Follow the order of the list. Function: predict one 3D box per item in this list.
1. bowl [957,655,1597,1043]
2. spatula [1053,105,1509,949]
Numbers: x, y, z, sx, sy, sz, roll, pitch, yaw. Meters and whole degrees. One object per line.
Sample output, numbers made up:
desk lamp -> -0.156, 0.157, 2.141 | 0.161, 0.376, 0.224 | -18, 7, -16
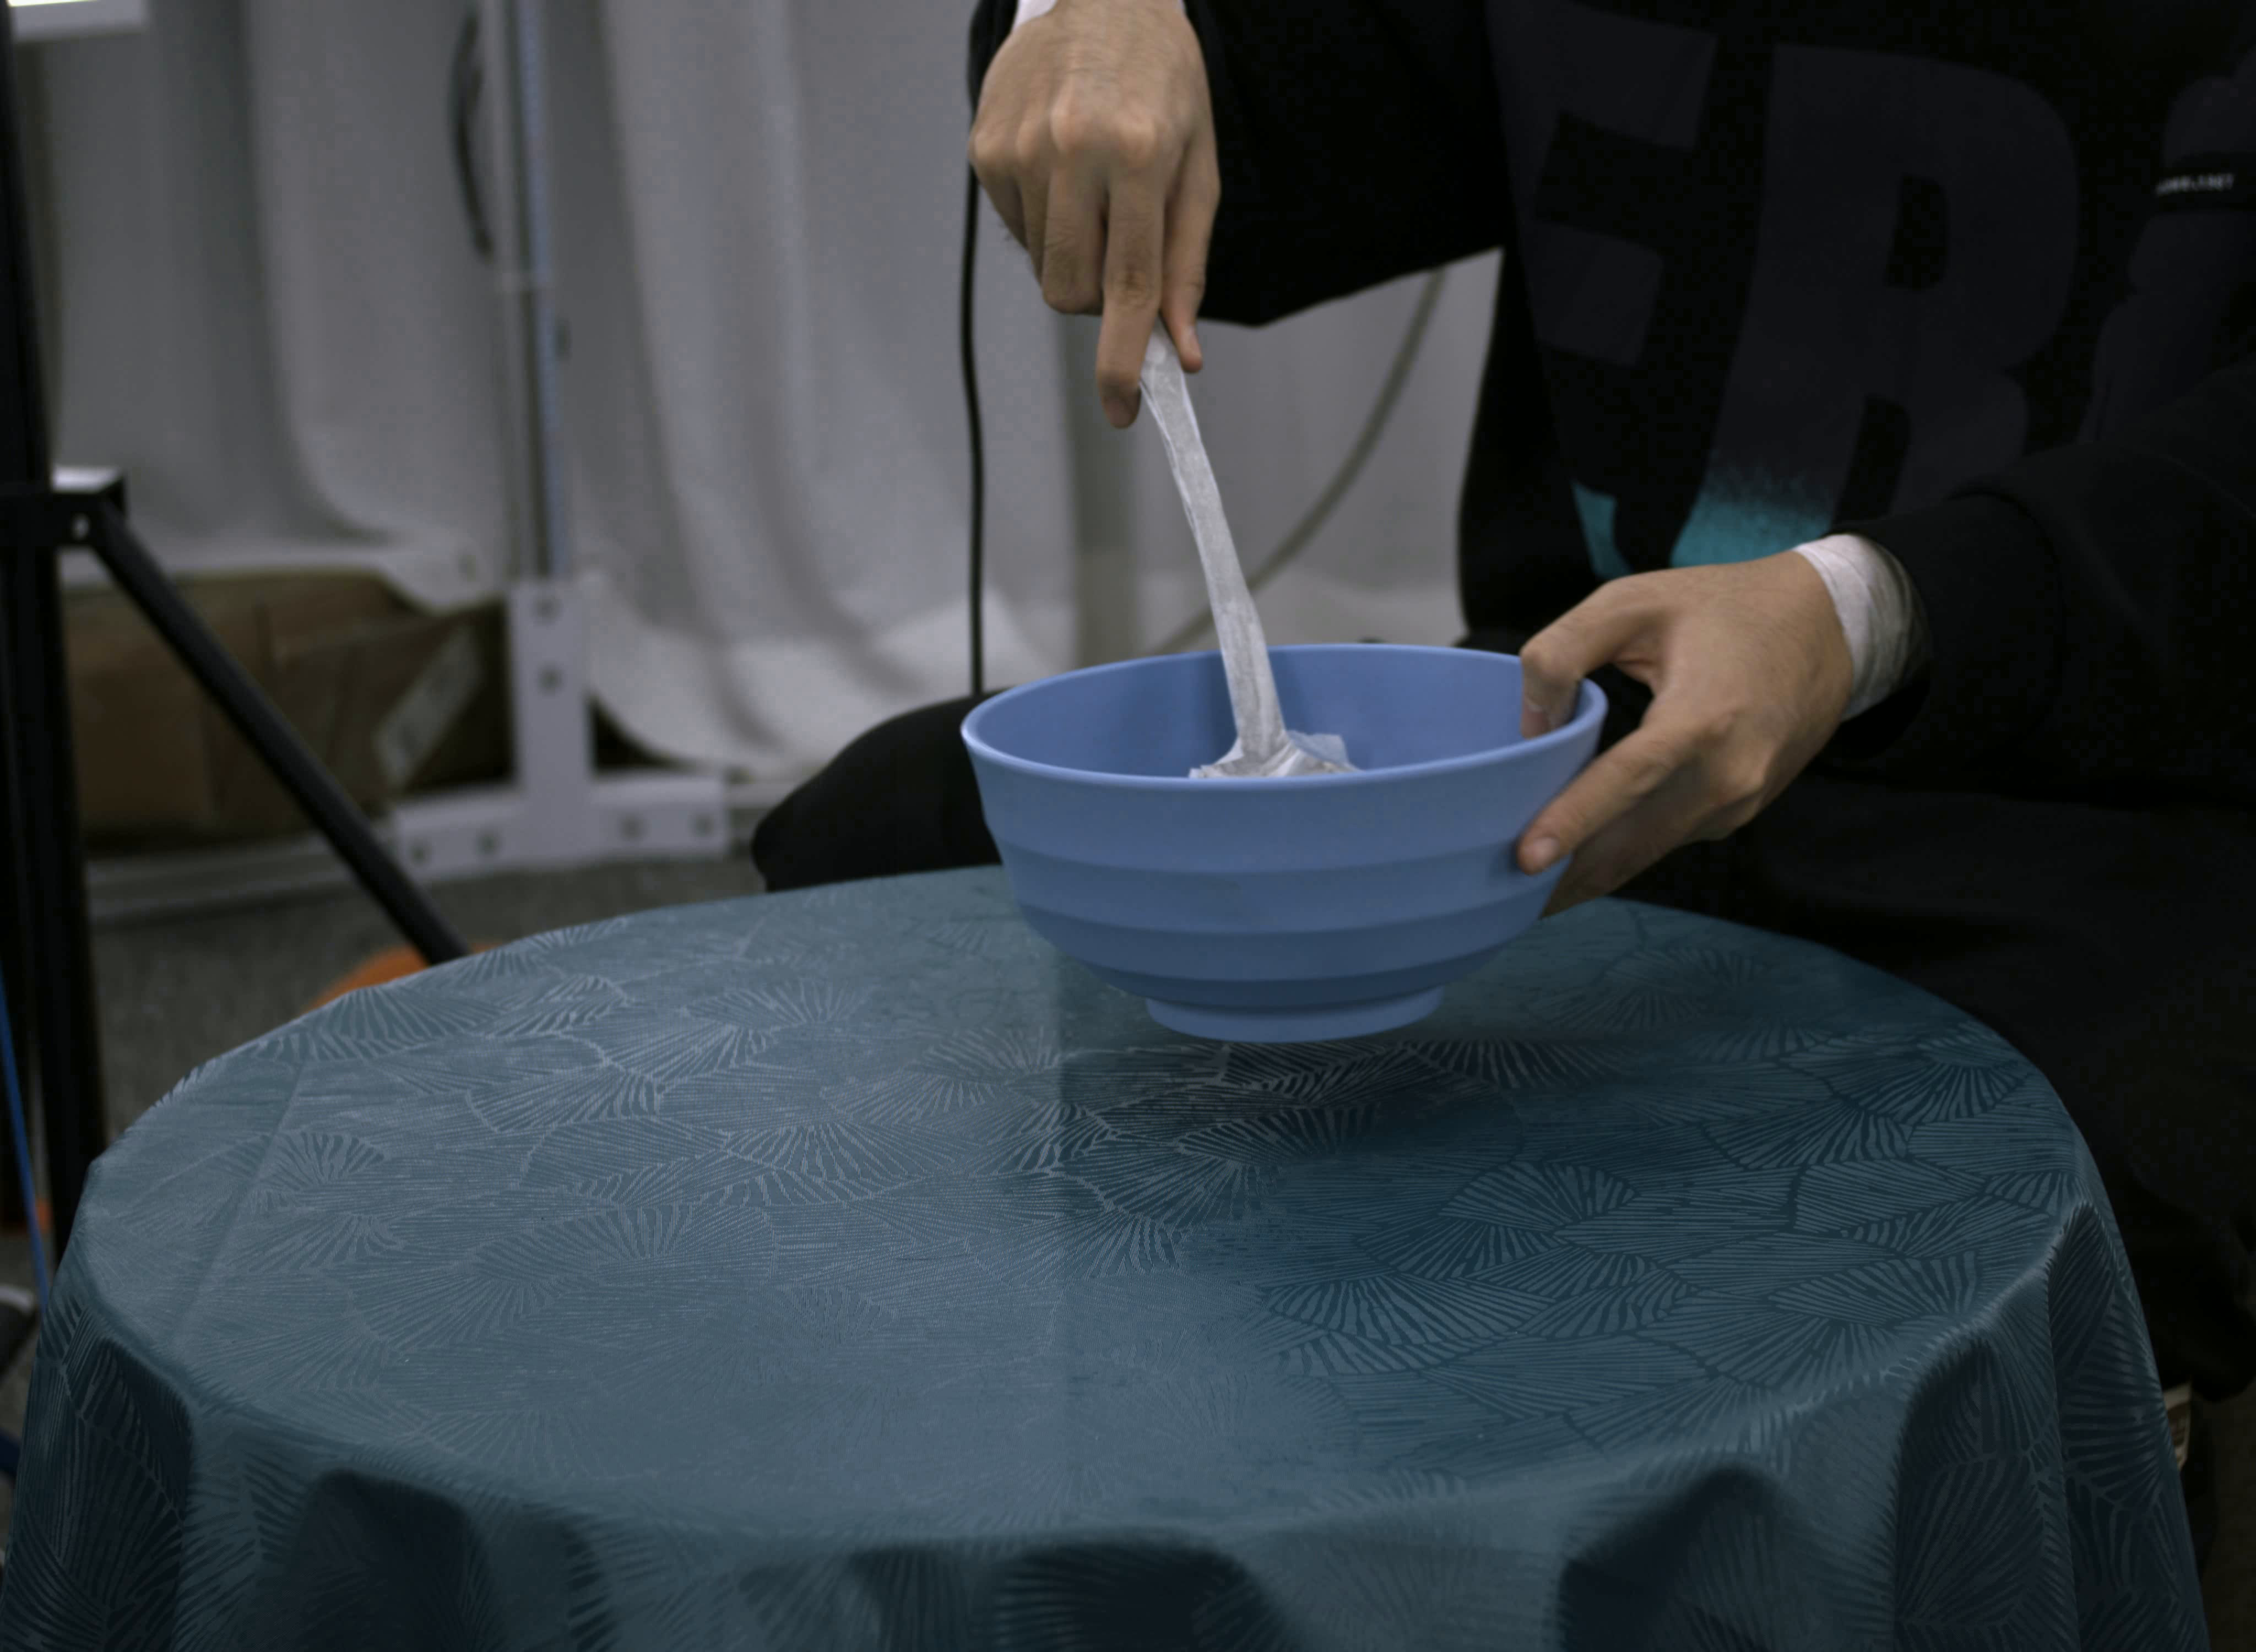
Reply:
bowl -> 0.048, 0.010, 1.630 | 0.195, 0.095, 0.197 | -4, 11, -1
spatula -> 0.029, -0.103, 1.708 | 0.096, 0.045, 0.370 | 0, 57, -26
